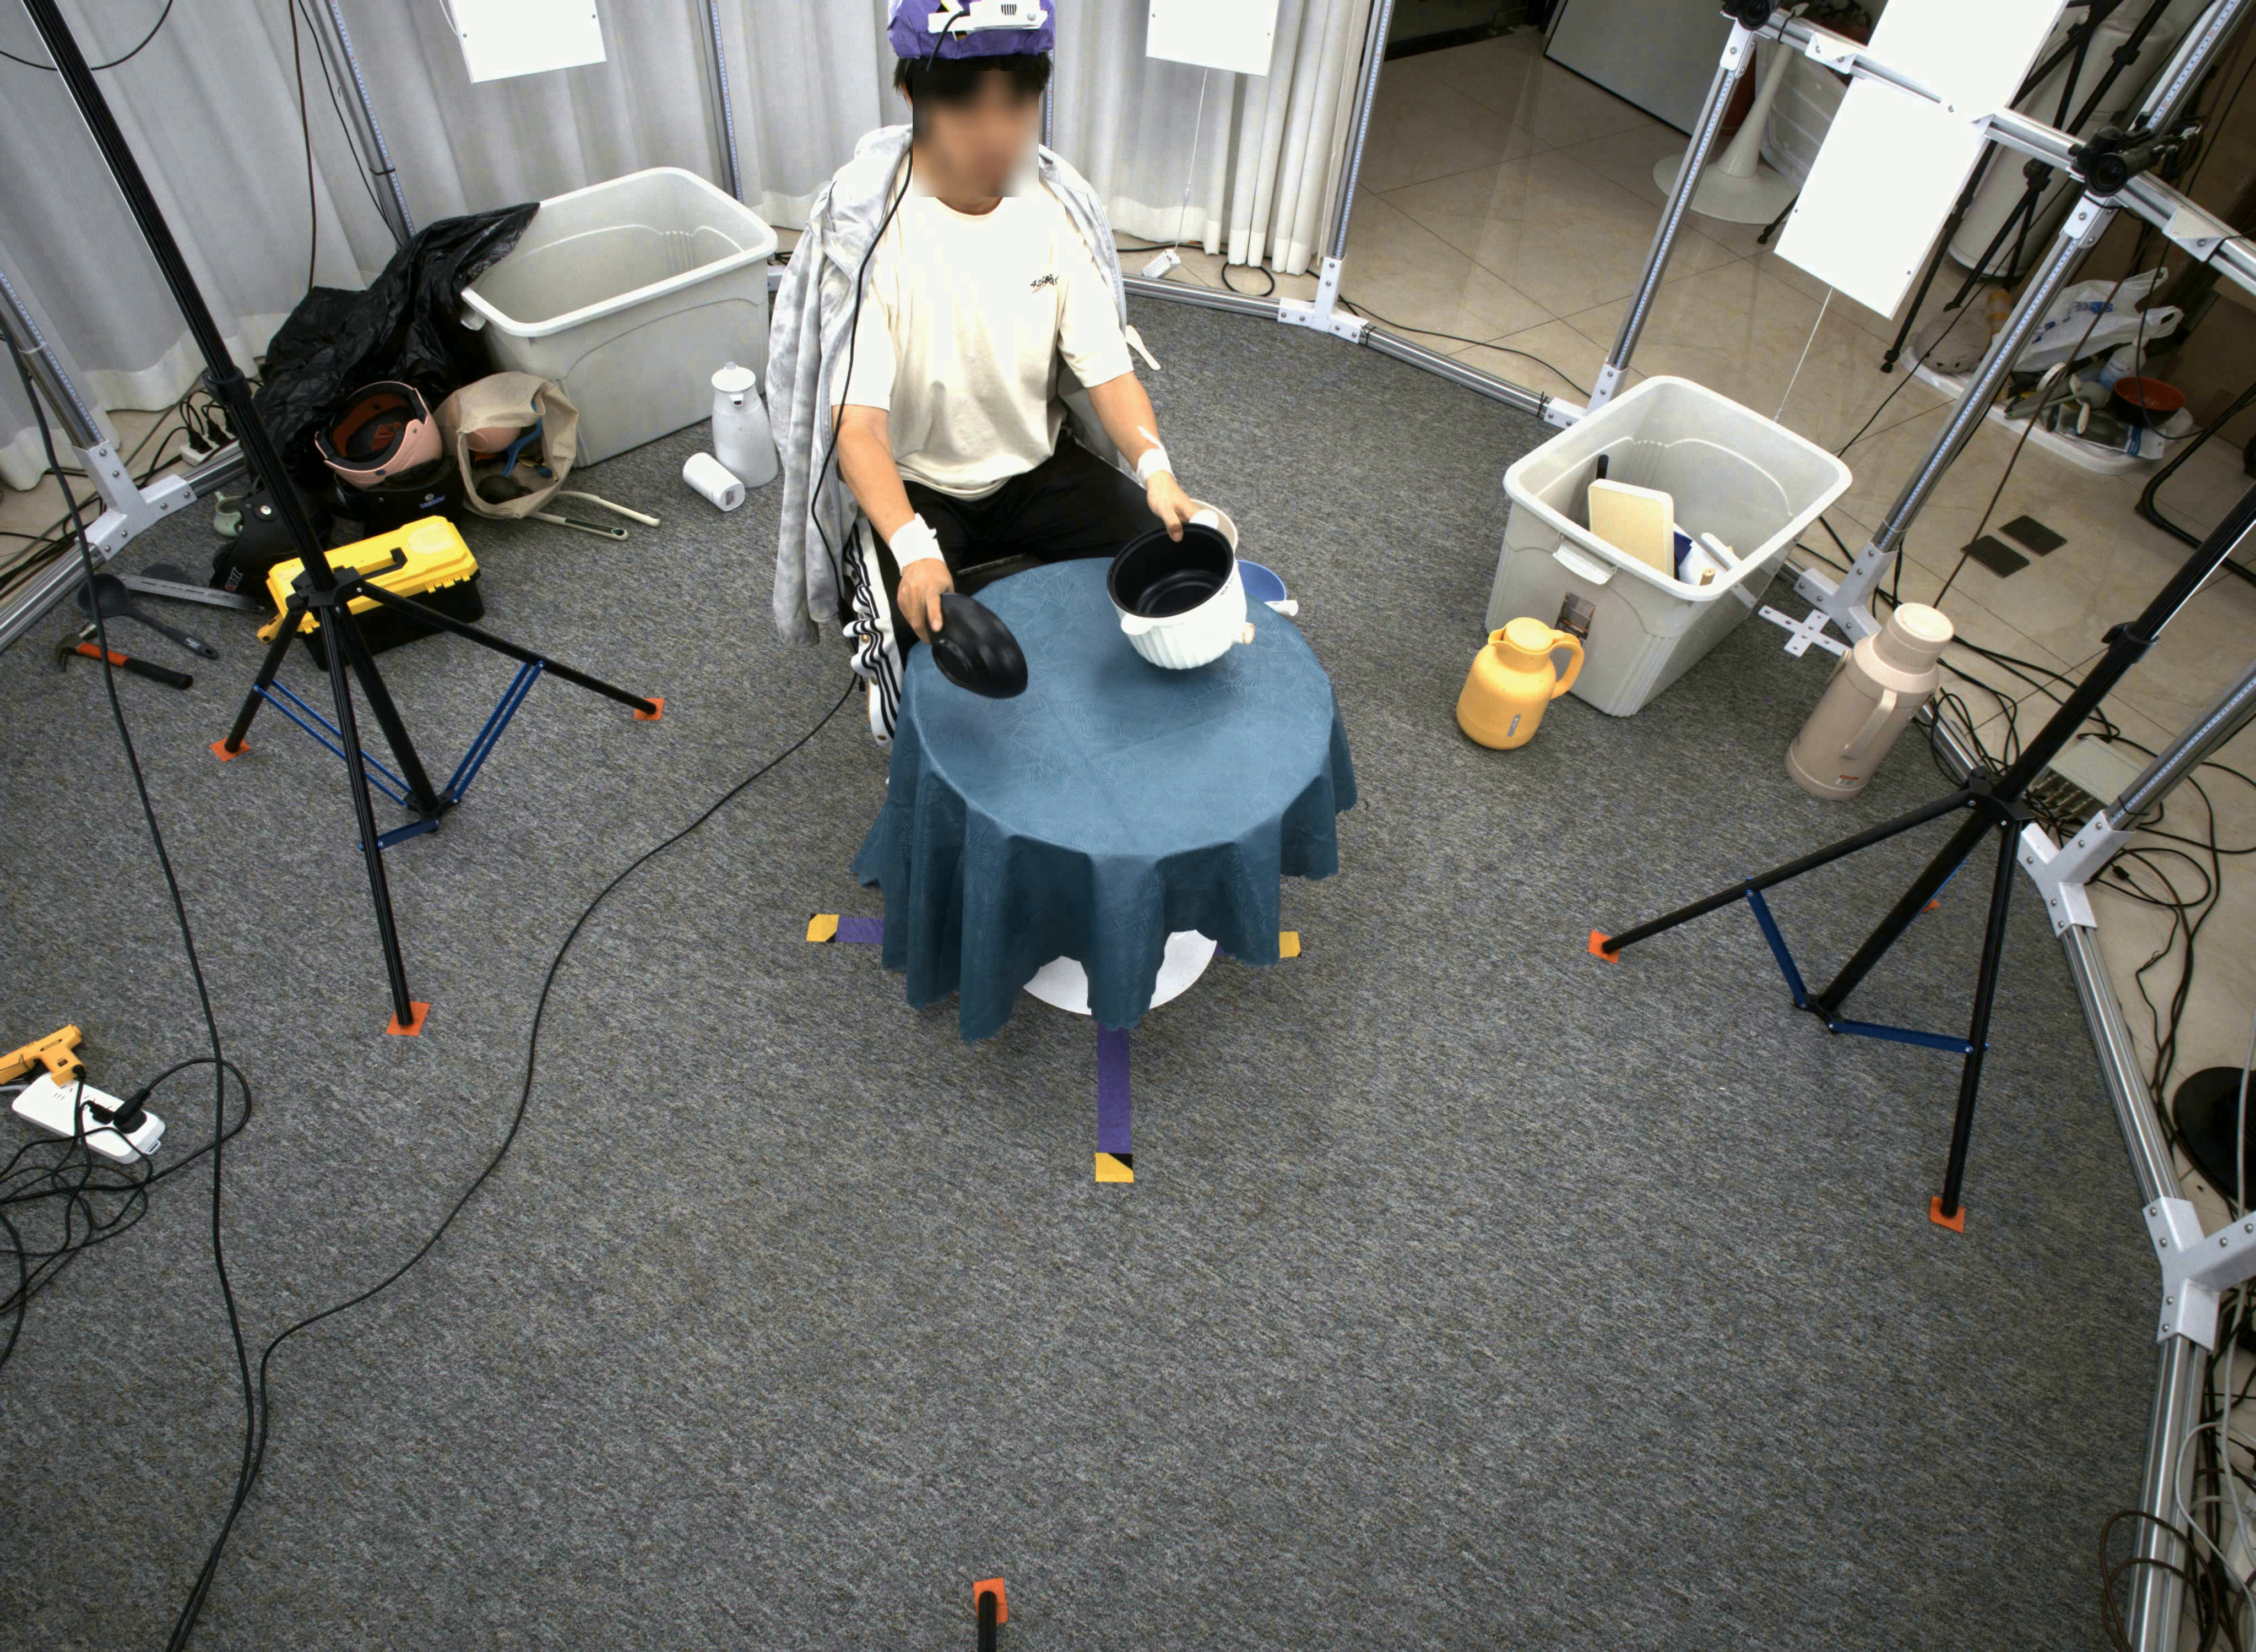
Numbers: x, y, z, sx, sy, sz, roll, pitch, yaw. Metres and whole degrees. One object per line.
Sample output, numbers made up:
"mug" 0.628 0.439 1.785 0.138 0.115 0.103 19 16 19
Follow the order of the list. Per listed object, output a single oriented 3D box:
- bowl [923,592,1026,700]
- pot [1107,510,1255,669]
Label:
"bowl" -0.209 -0.225 1.665 0.170 0.136 0.067 48 60 1
"pot" 0.081 -0.319 1.819 0.192 0.139 0.244 14 60 33
